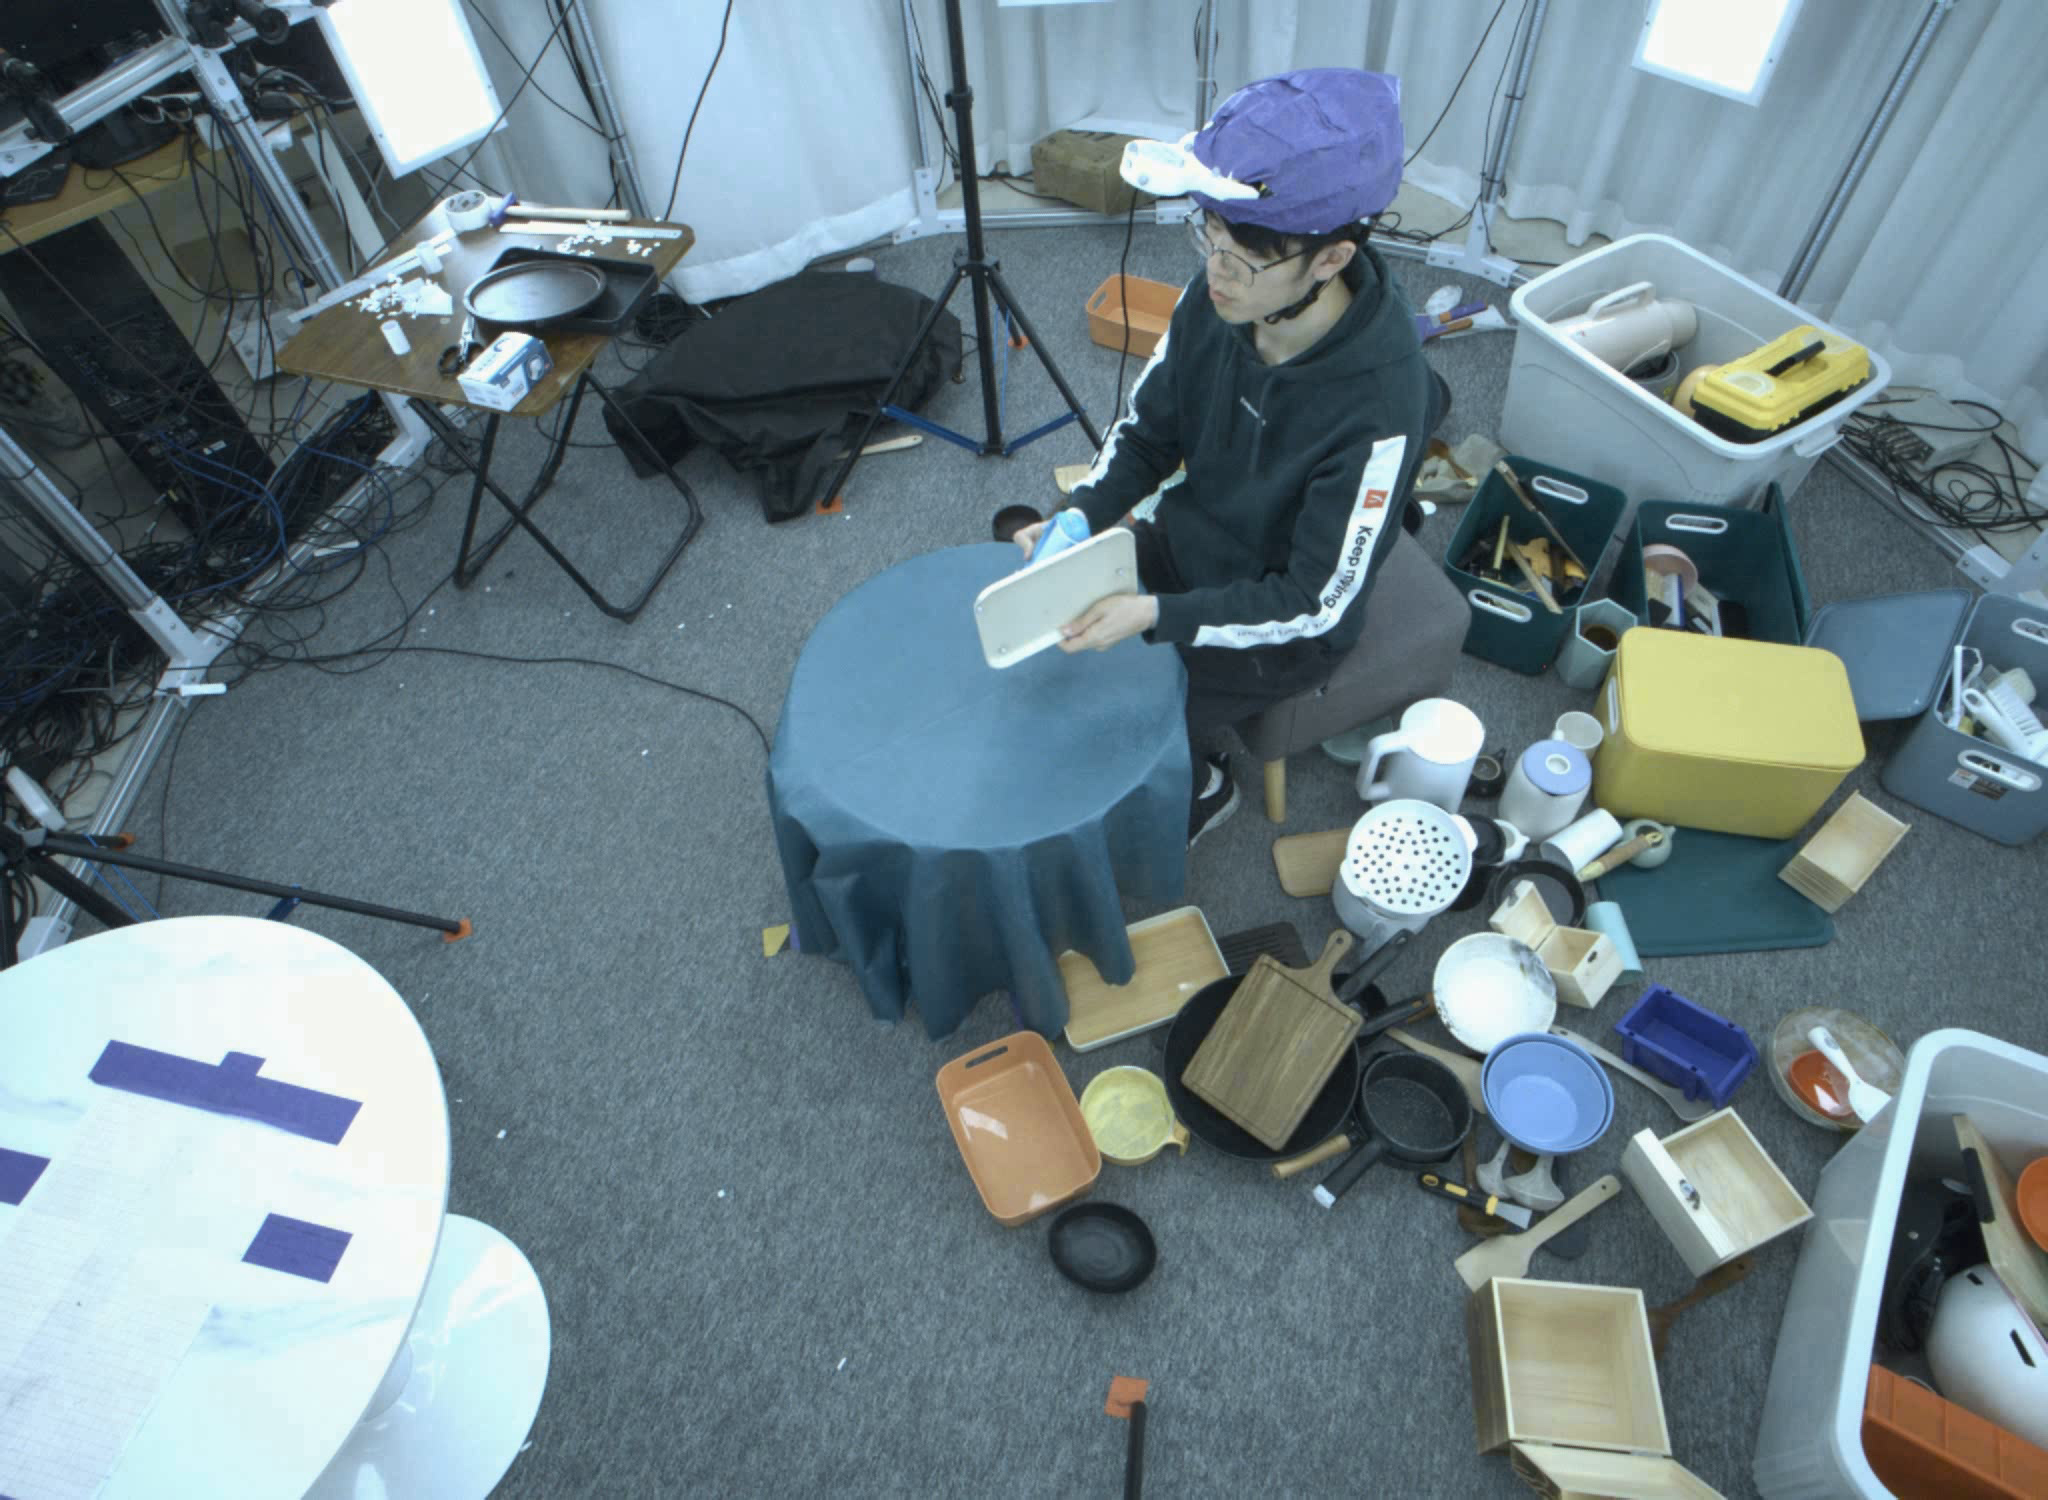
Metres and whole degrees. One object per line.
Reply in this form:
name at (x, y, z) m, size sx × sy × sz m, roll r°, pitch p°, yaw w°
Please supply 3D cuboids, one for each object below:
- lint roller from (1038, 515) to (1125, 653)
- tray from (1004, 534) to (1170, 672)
lint roller at (0.079, -0.249, 1.716) m, size 0.068 × 0.228 × 0.180 m, roll 31°, pitch 34°, yaw -3°
tray at (0.086, -0.197, 1.649) m, size 0.241 × 0.173 × 0.017 m, roll -25°, pitch 60°, yaw -9°
